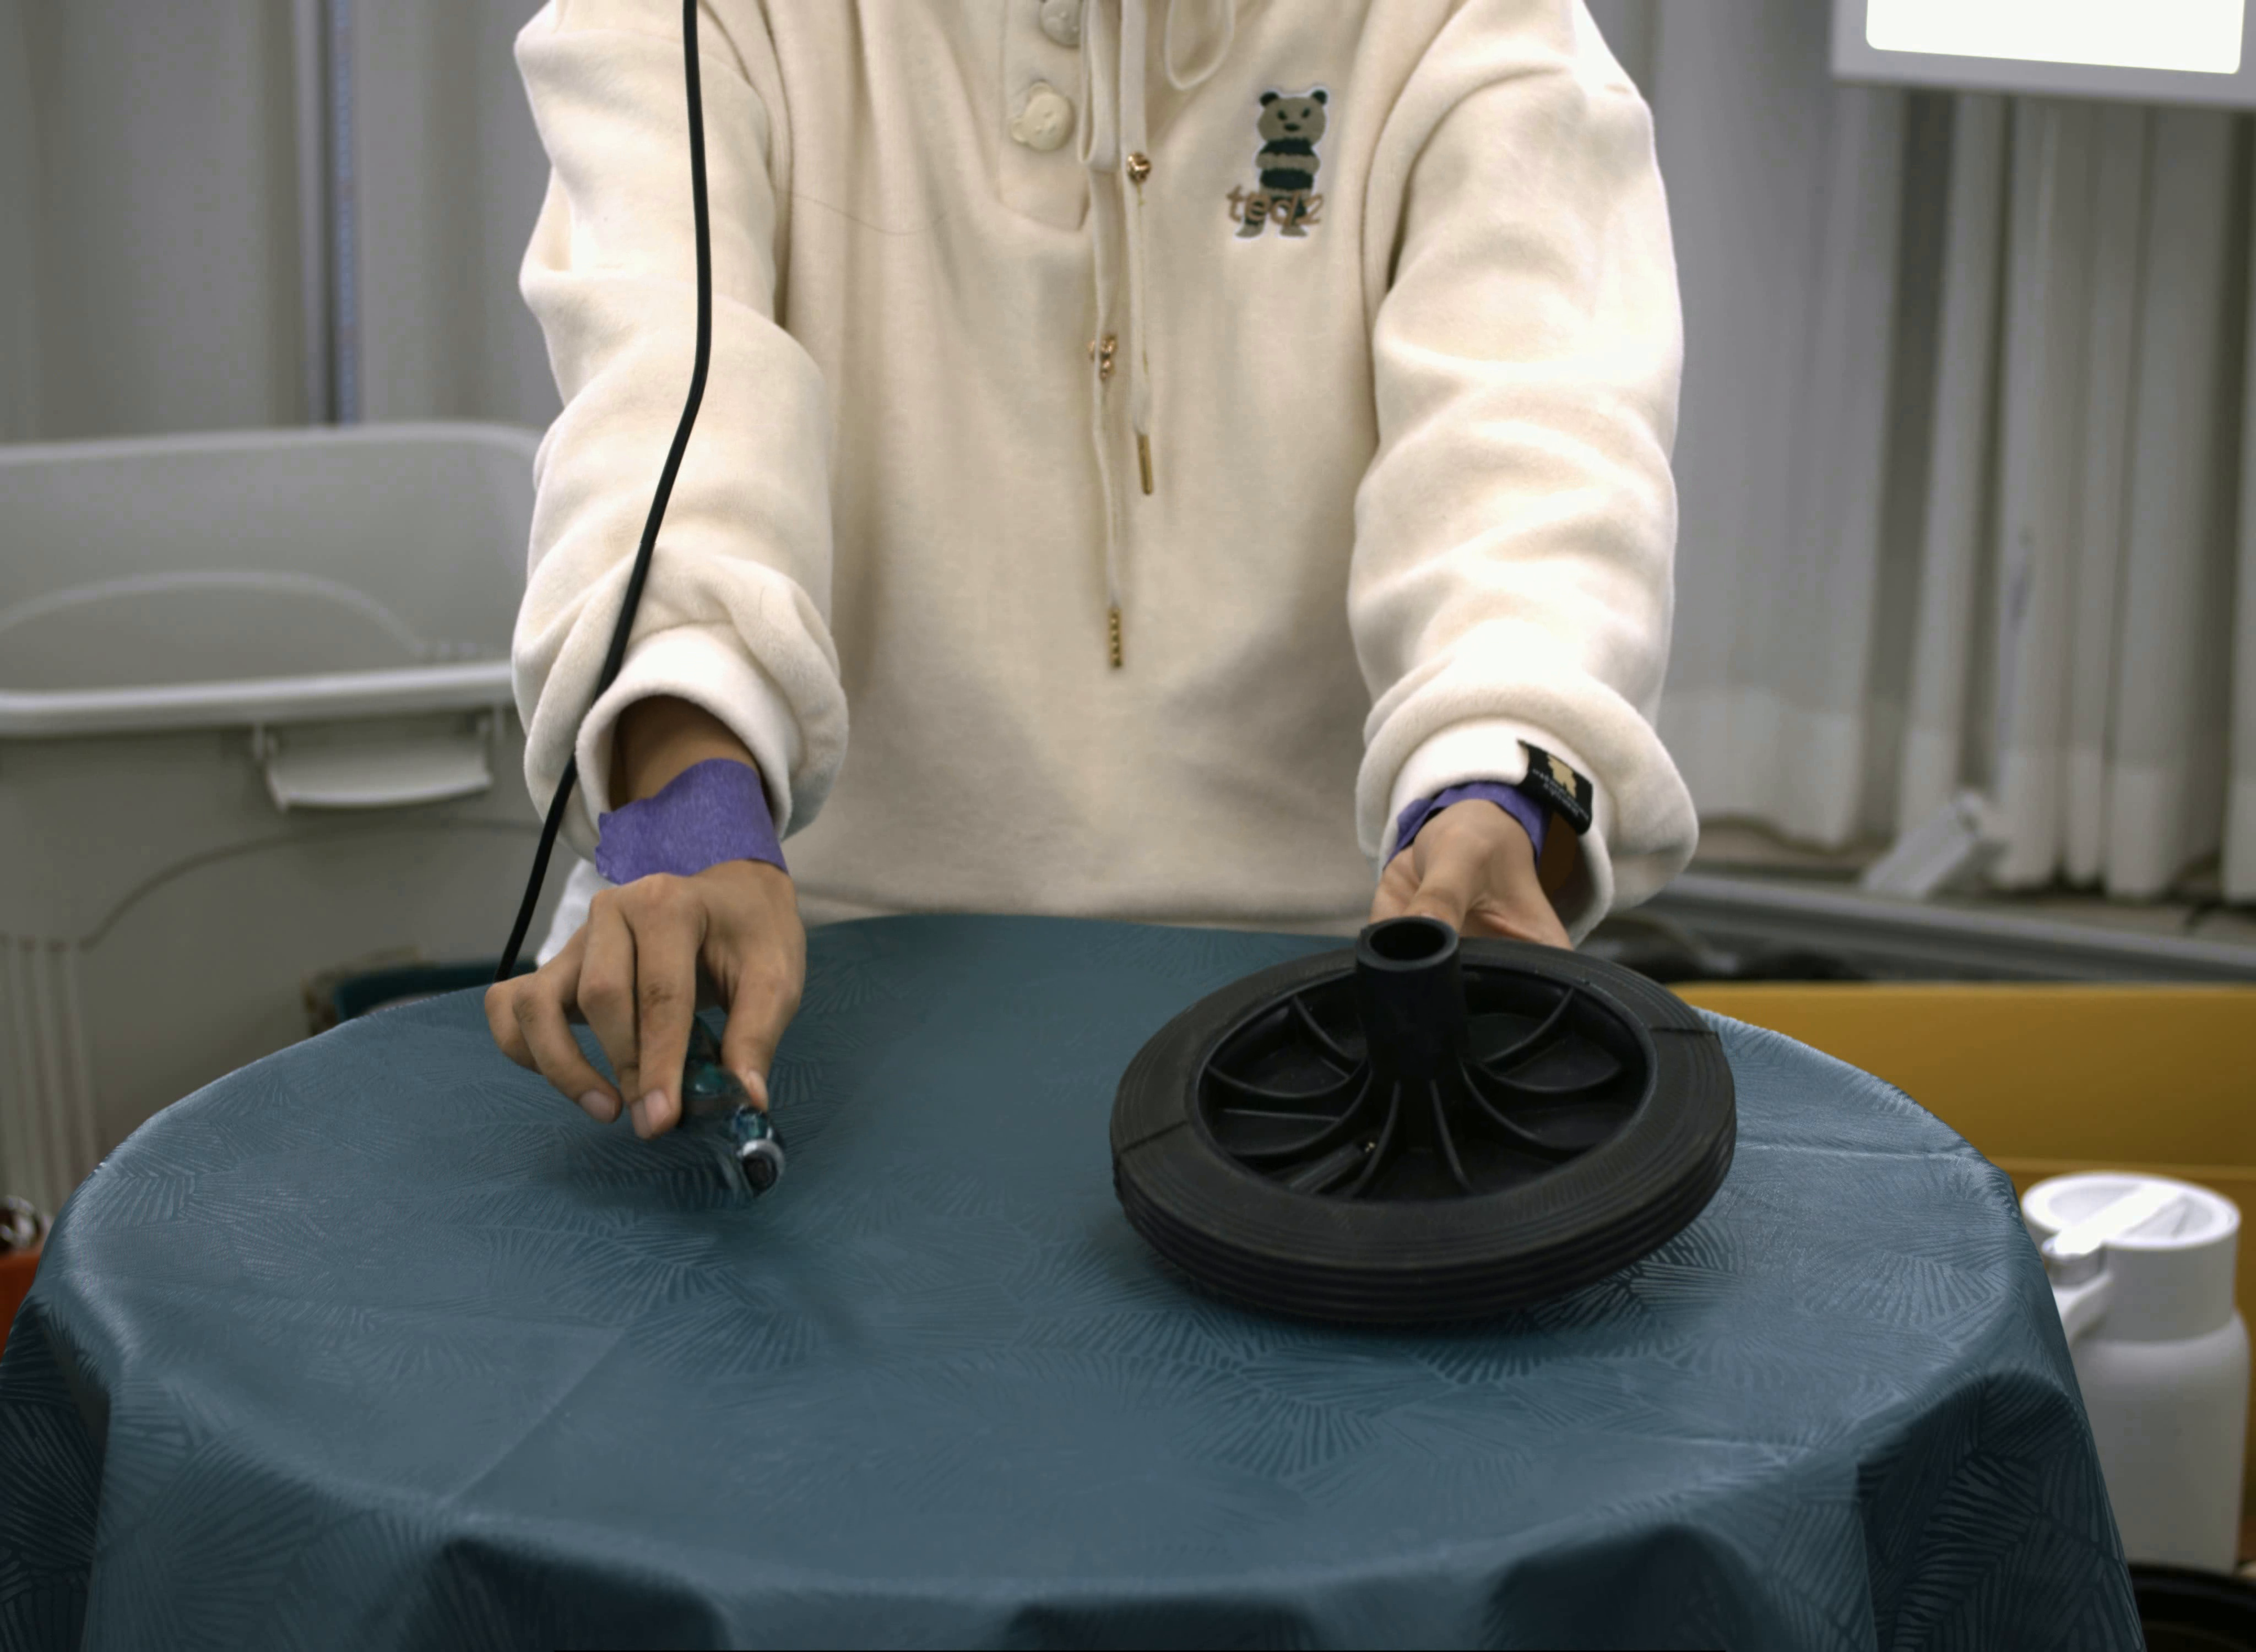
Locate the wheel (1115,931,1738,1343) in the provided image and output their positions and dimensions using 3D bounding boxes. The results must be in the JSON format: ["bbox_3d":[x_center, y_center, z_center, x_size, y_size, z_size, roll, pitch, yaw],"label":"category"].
[{"bbox_3d":[0.086,0.073,1.564,0.185,0.080,0.189,7,34,23],"label":"wheel"}]

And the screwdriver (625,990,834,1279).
[{"bbox_3d":[-0.116,0.094,1.568,0.034,0.034,0.188,-5,22,-19],"label":"screwdriver"}]
